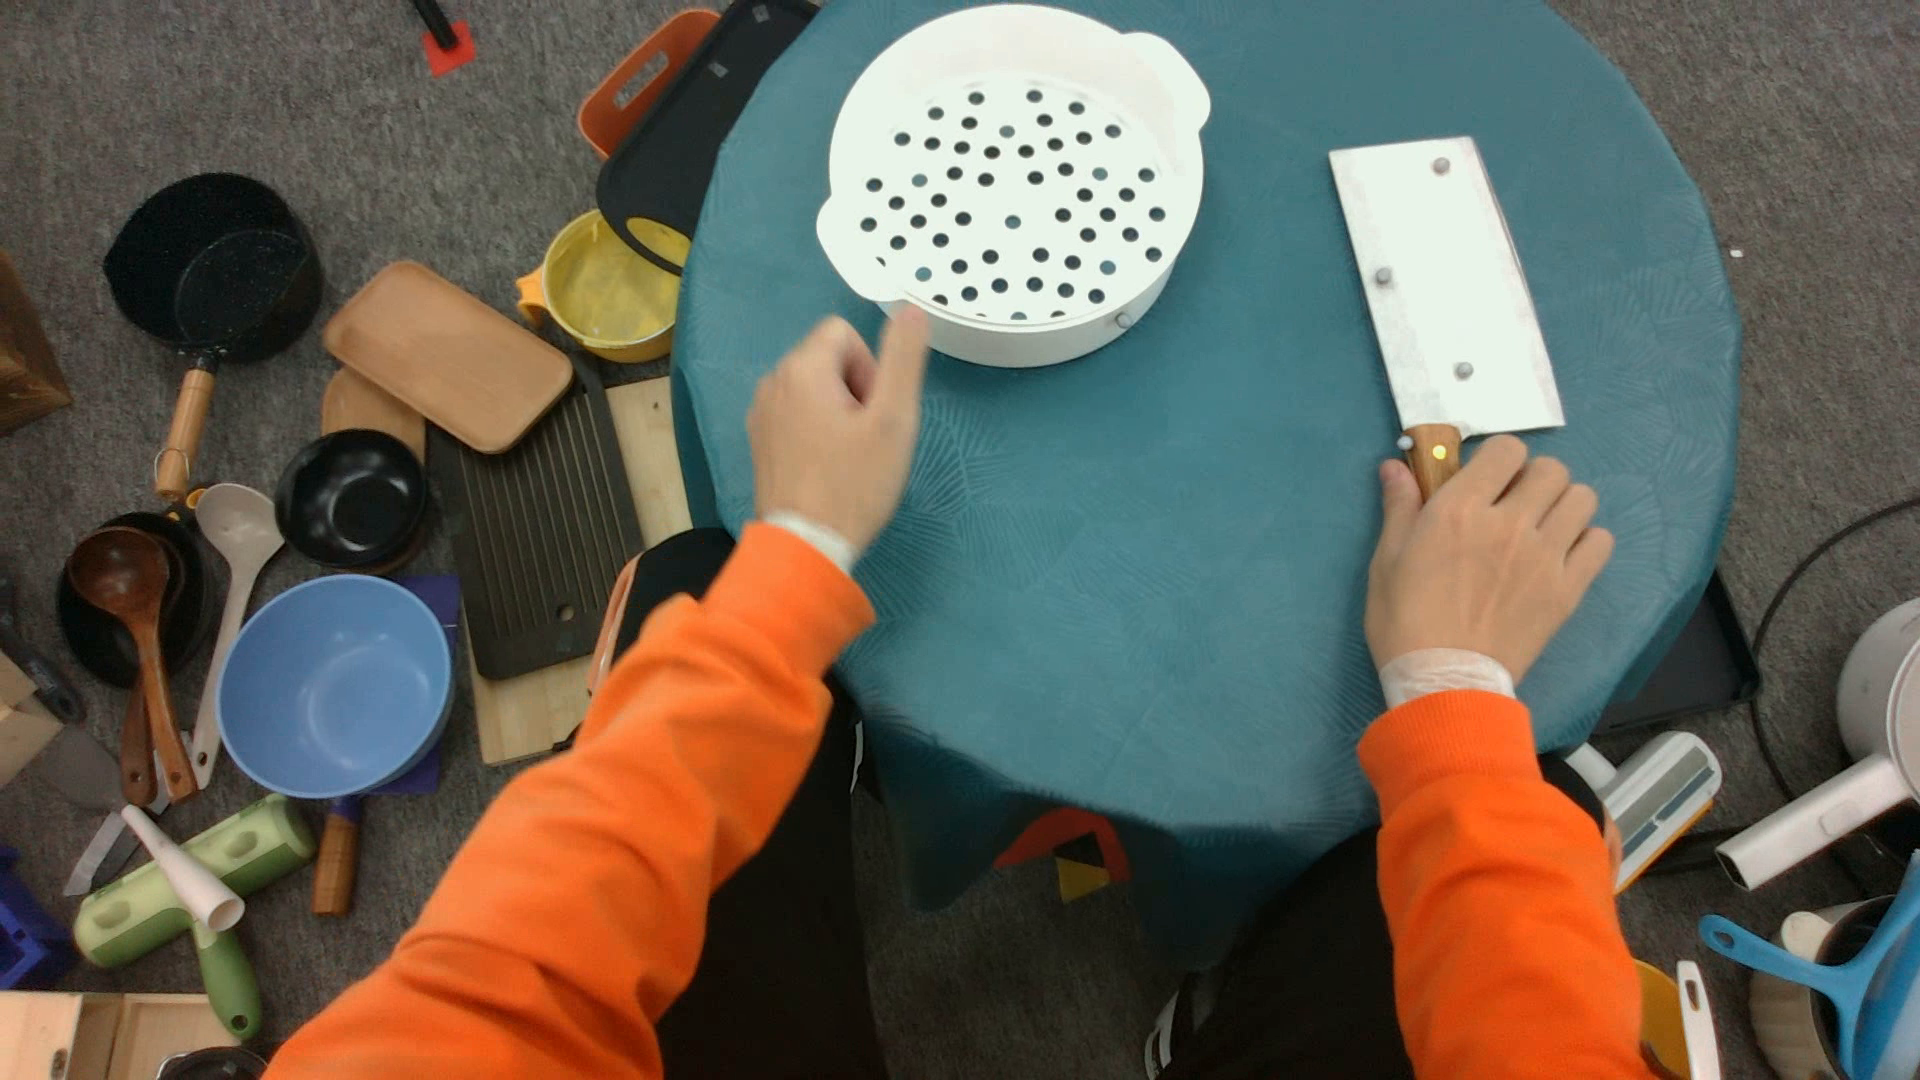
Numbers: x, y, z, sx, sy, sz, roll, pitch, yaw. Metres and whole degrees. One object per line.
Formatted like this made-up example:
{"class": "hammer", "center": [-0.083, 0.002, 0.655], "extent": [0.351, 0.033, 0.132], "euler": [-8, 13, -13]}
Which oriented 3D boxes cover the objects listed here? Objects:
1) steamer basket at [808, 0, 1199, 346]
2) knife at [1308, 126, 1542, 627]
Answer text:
{"class": "steamer basket", "center": [0.025, -0.206, 0.770], "extent": [0.231, 0.069, 0.202], "euler": [-31, 76, -12]}
{"class": "knife", "center": [0.271, -0.102, 0.767], "extent": [0.093, 0.021, 0.306], "euler": [-8, 70, -4]}
